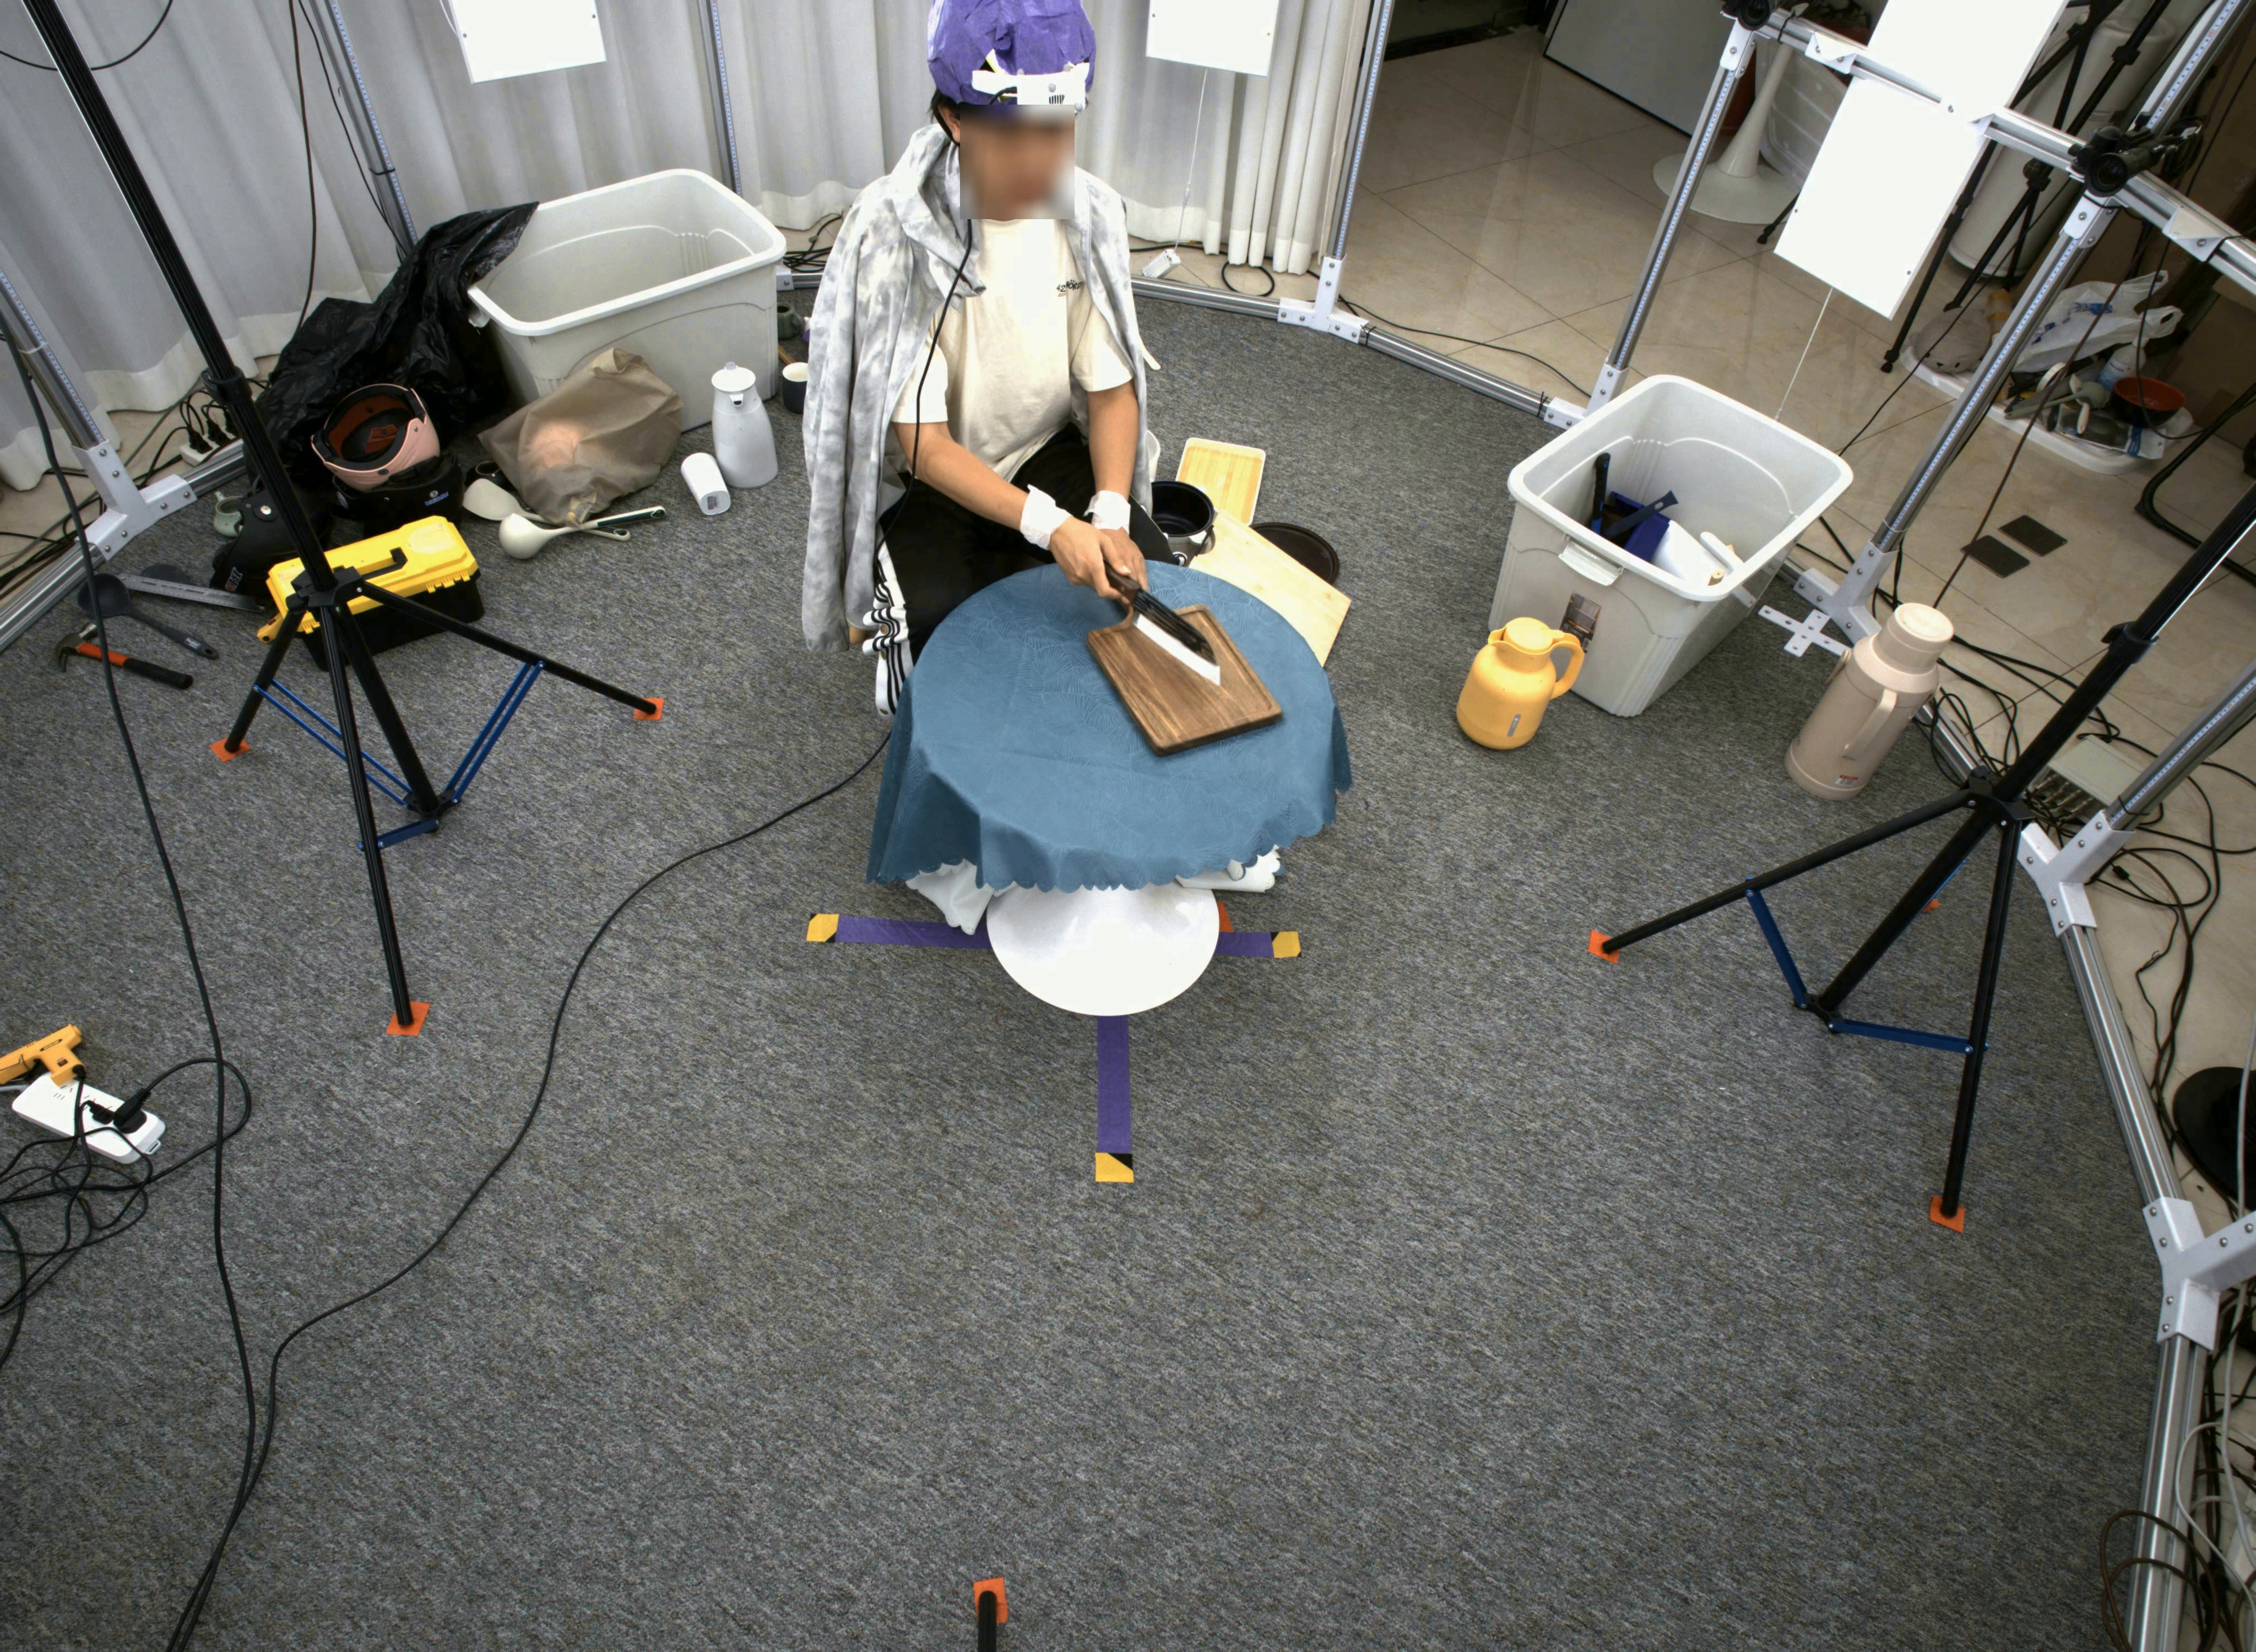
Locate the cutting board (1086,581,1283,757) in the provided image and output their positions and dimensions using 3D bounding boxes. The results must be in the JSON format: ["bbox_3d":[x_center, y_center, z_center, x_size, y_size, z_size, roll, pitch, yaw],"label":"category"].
[{"bbox_3d":[0.057,-0.250,1.872,0.201,0.022,0.360,-18,52,-17],"label":"cutting board"}]

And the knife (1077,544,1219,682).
[{"bbox_3d":[0.029,-0.308,1.854,0.024,0.066,0.304,-30,59,-34],"label":"knife"}]
